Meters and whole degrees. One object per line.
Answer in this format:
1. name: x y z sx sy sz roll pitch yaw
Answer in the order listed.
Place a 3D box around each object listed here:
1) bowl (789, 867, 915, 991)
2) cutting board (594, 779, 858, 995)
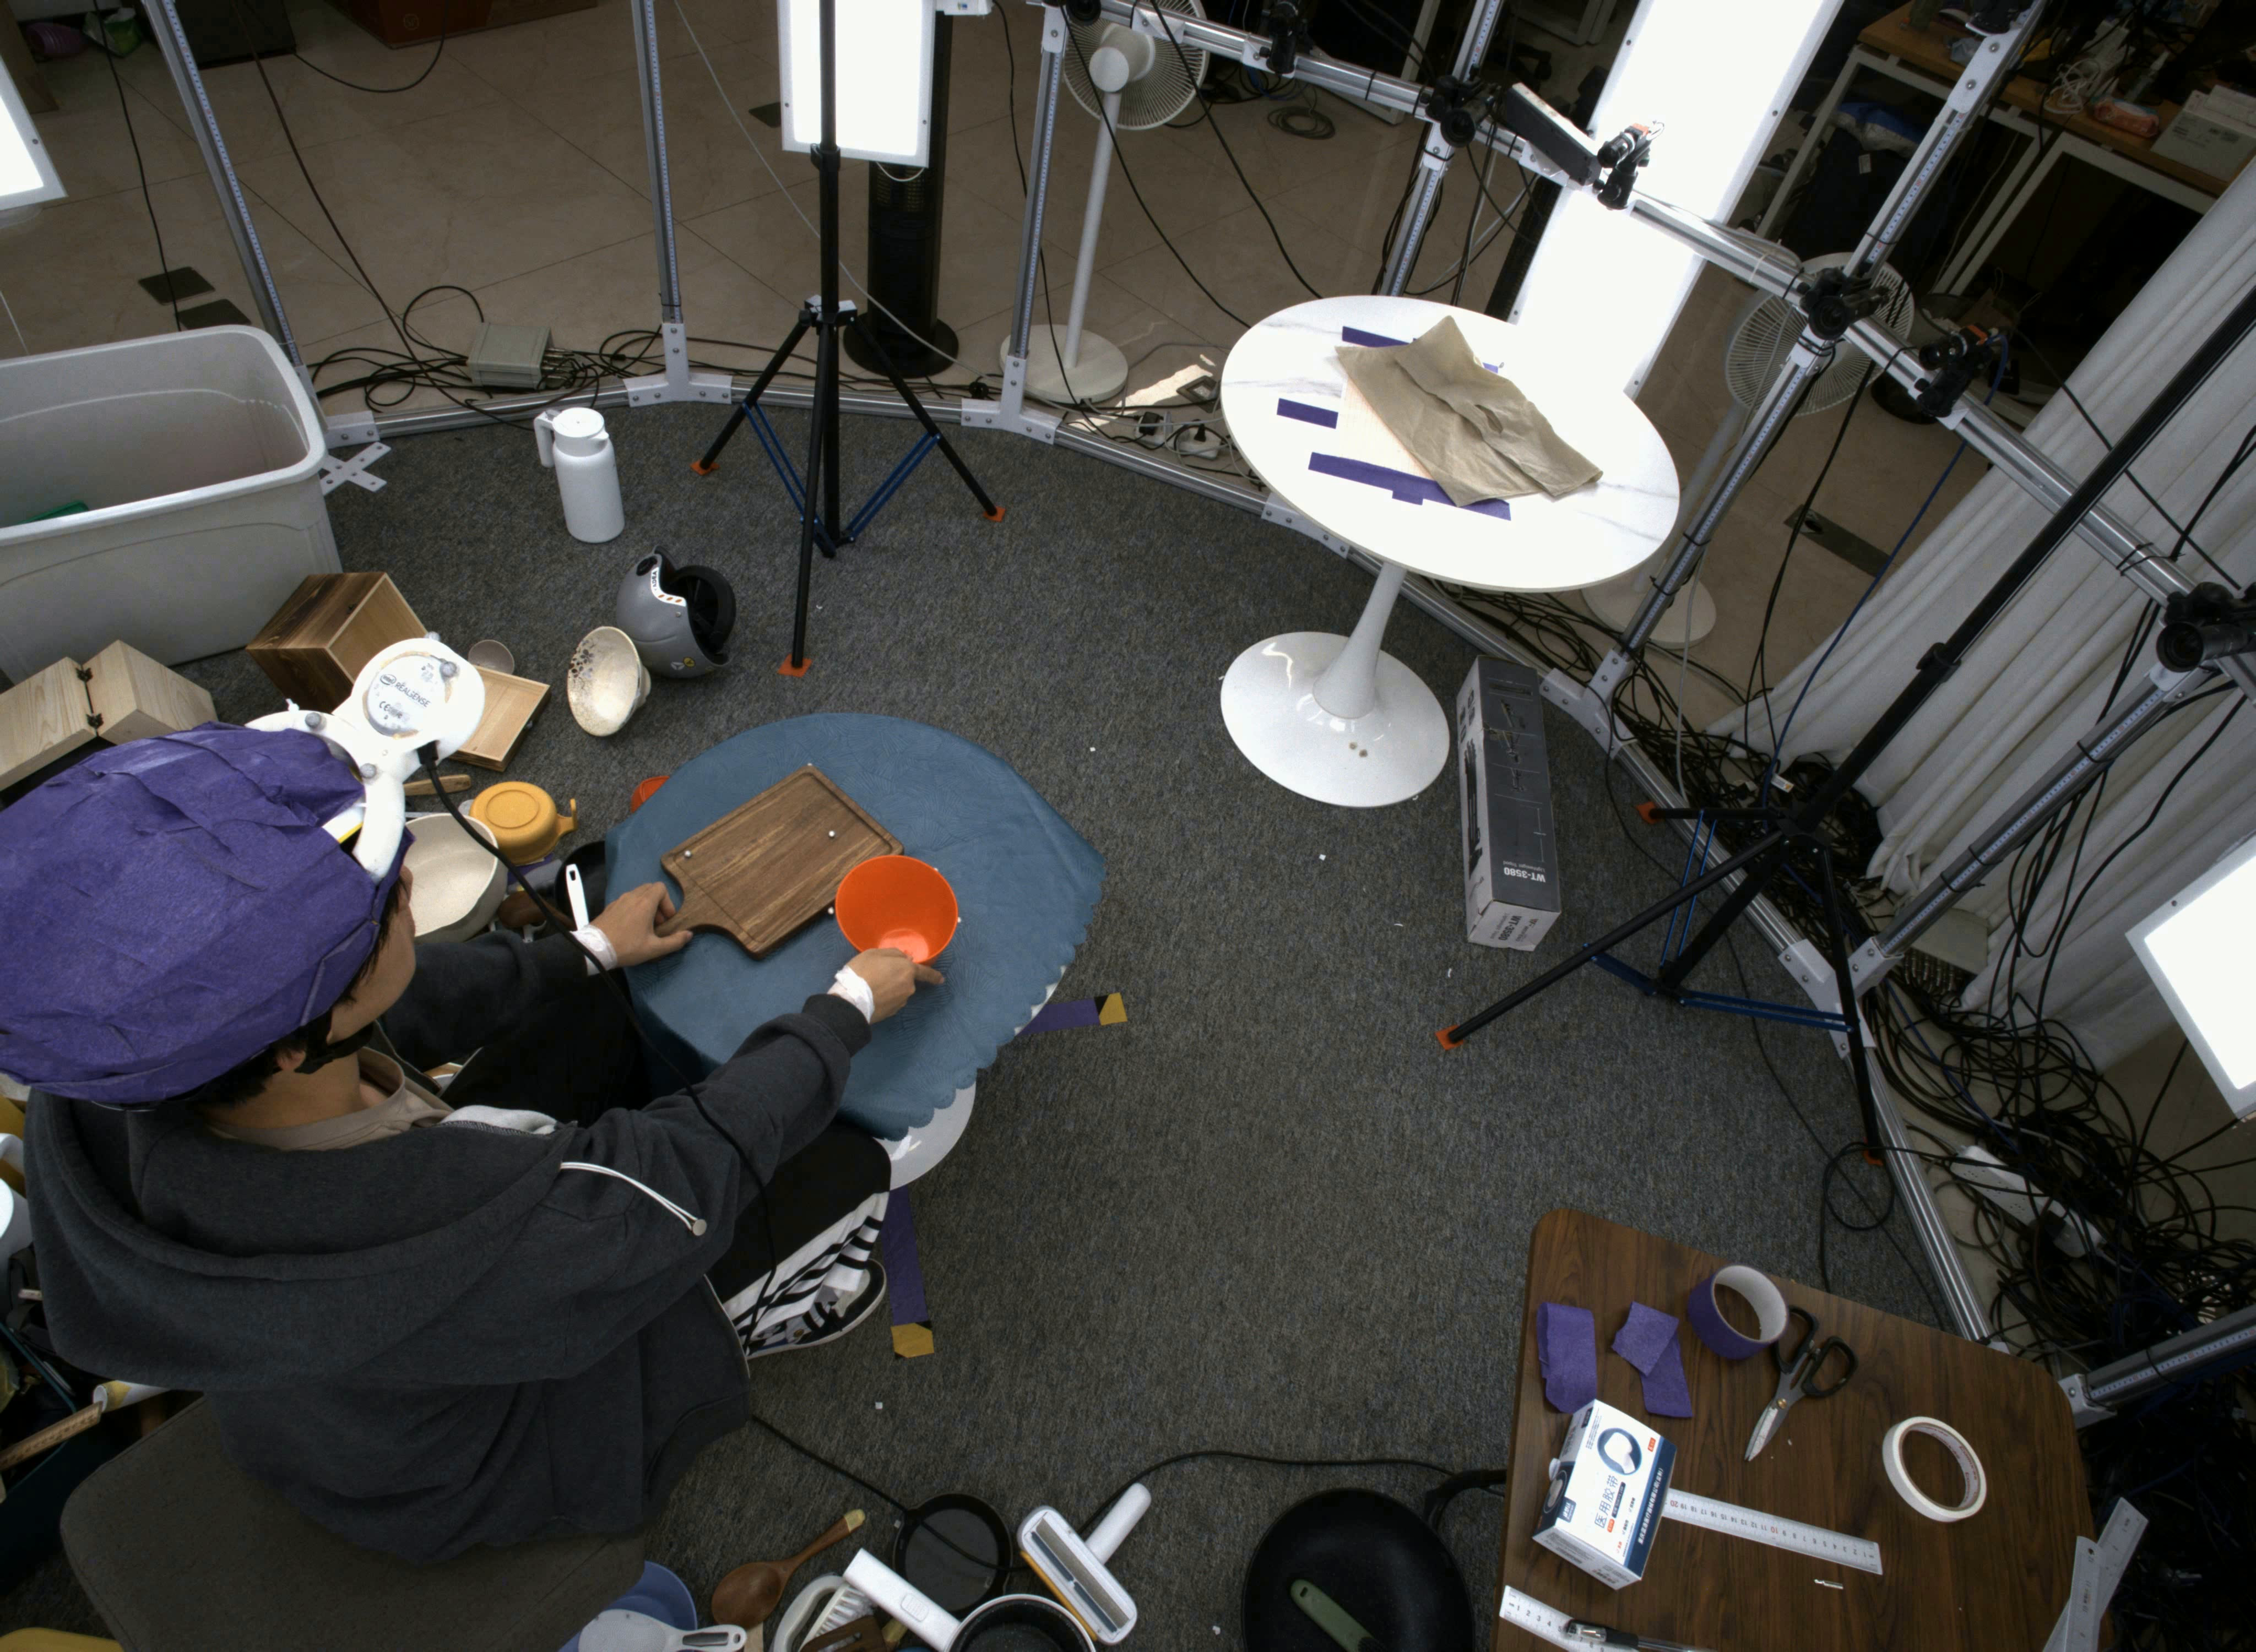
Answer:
1. bowl: -0.334 0.137 1.585 0.147 0.107 0.145 6 54 -7
2. cutting board: -0.531 0.089 1.621 0.197 0.023 0.352 37 54 14
